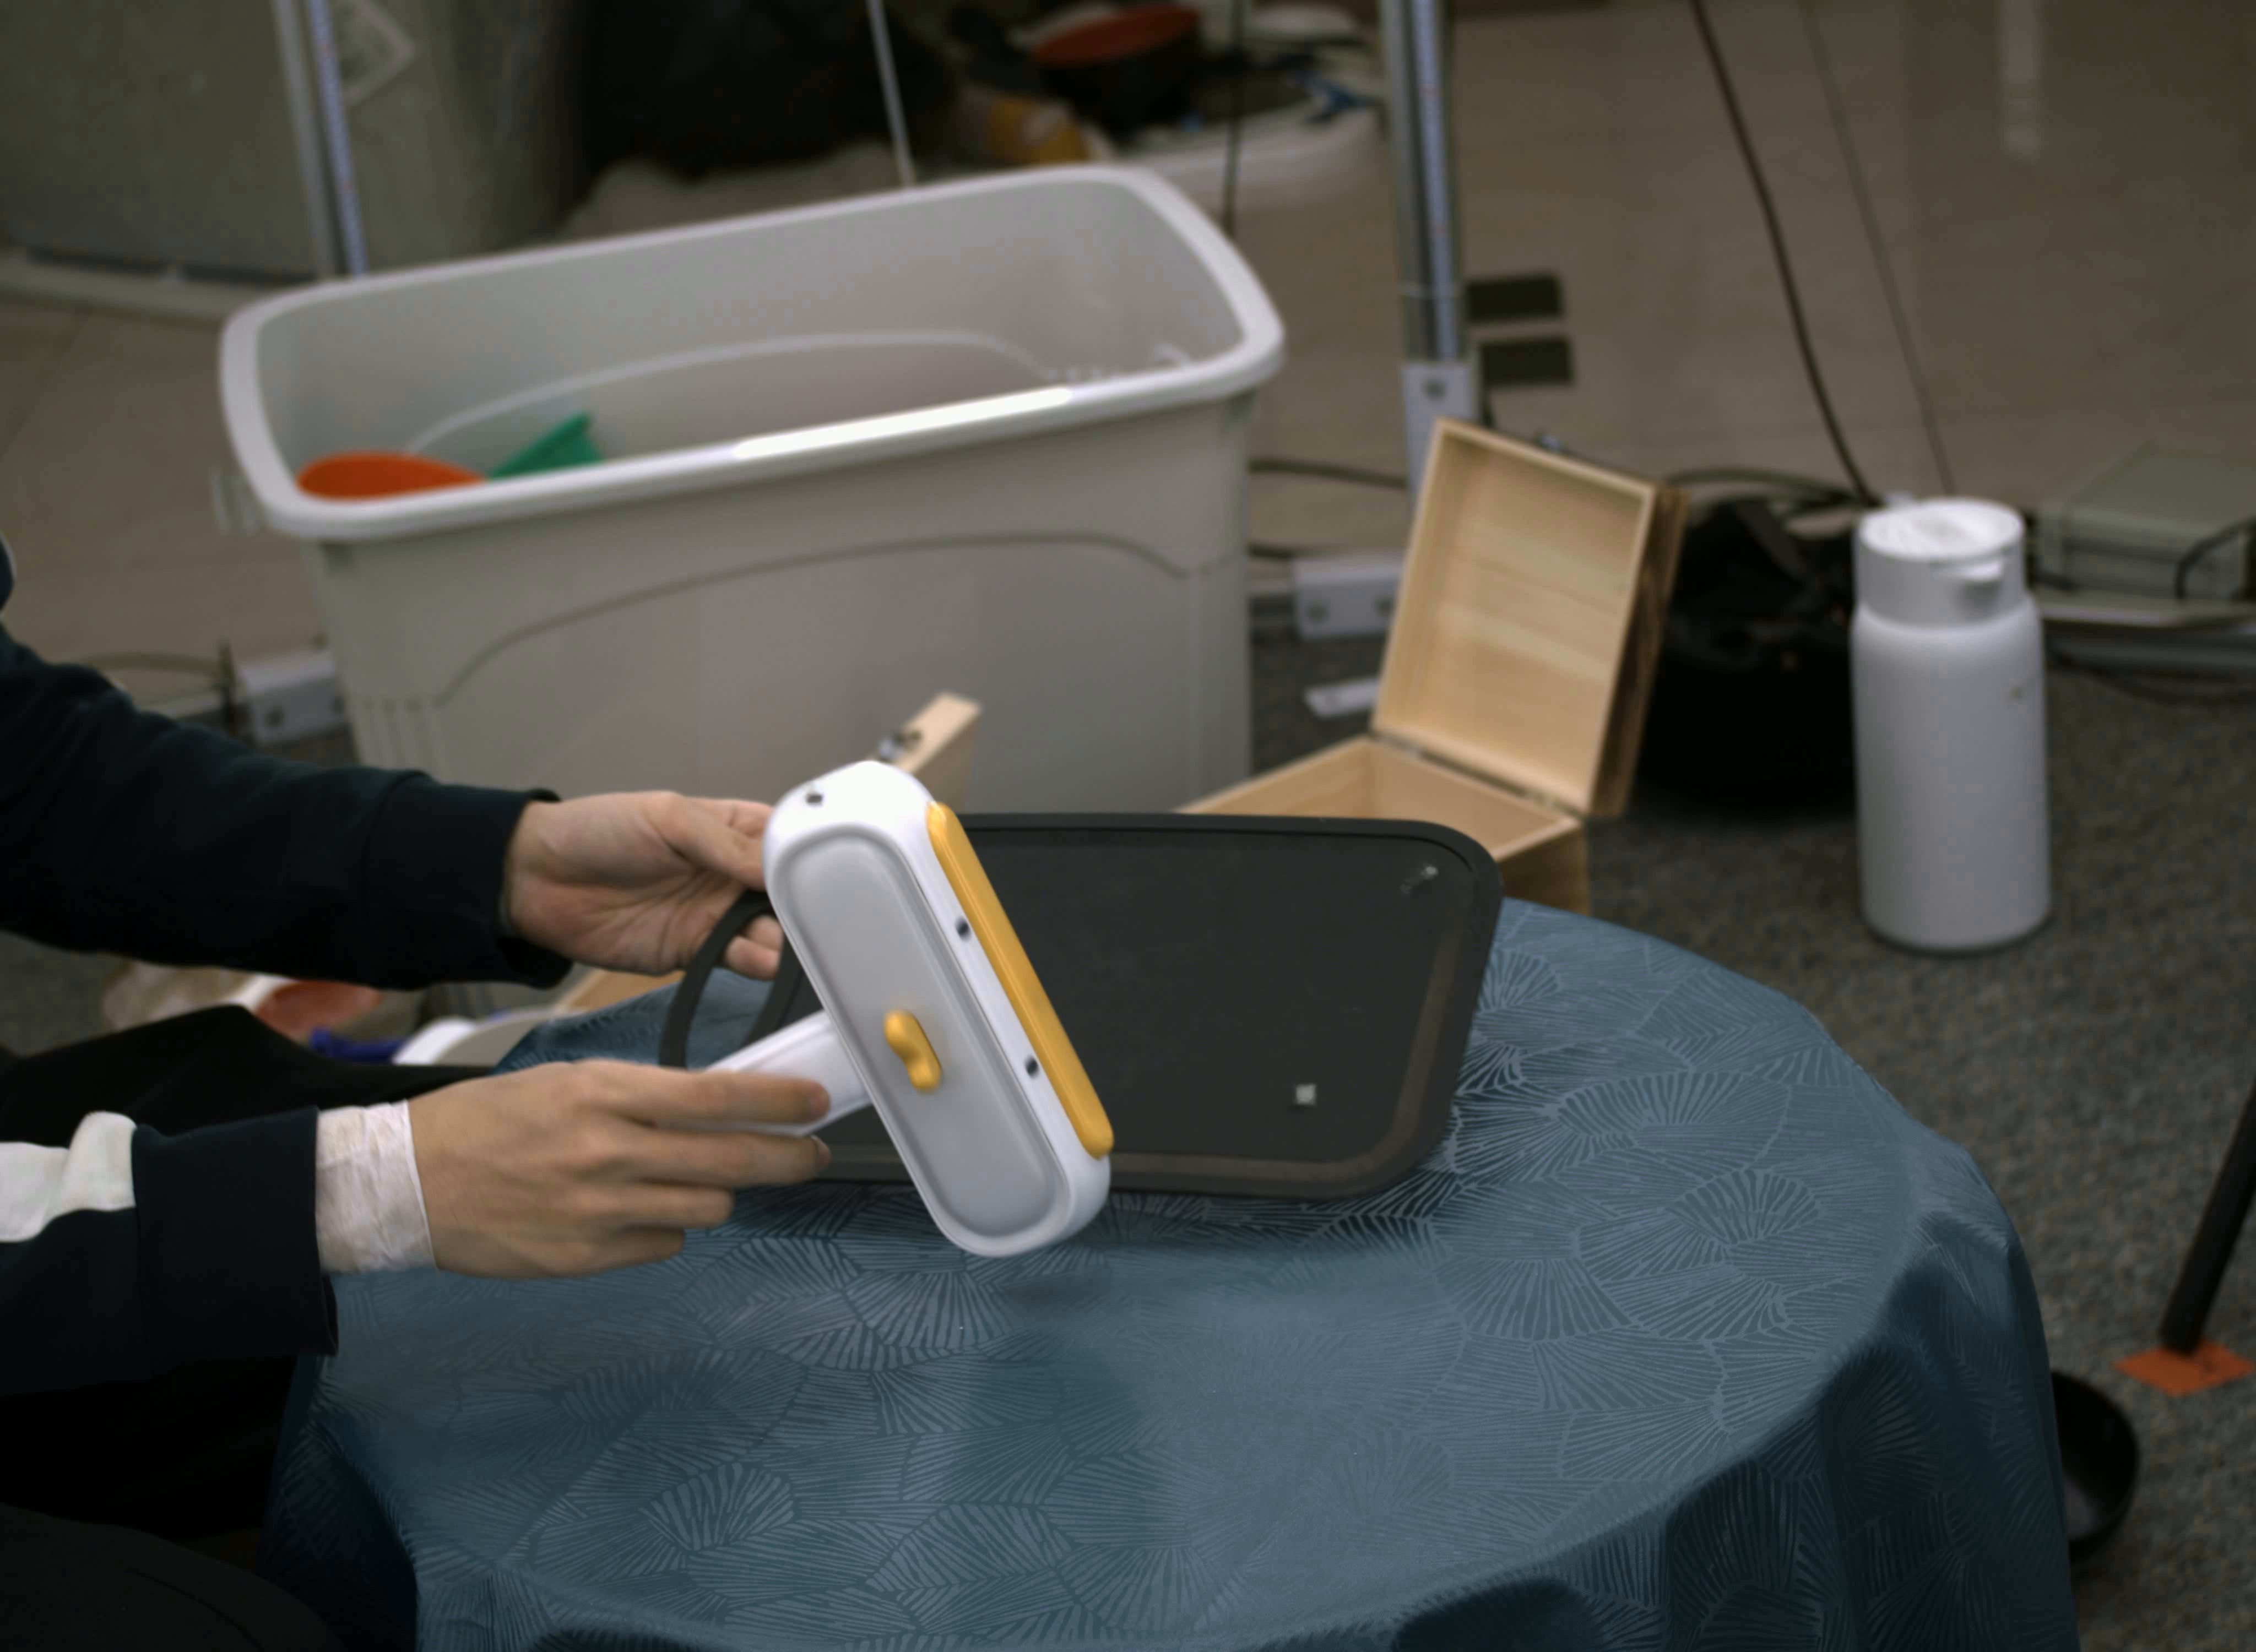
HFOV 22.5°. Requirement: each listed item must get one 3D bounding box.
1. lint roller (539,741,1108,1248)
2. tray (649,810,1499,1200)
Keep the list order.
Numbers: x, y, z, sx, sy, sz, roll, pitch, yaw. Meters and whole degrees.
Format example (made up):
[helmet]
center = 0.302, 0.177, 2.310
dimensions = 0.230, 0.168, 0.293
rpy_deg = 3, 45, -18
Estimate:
[lint roller]
center = -0.125, 0.089, 2.043
dimensions = 0.193, 0.195, 0.073
rpy_deg = -28, 18, 12
[tray]
center = -0.027, 0.064, 2.186
dimensions = 0.324, 0.010, 0.207
rpy_deg = 1, 43, 16
